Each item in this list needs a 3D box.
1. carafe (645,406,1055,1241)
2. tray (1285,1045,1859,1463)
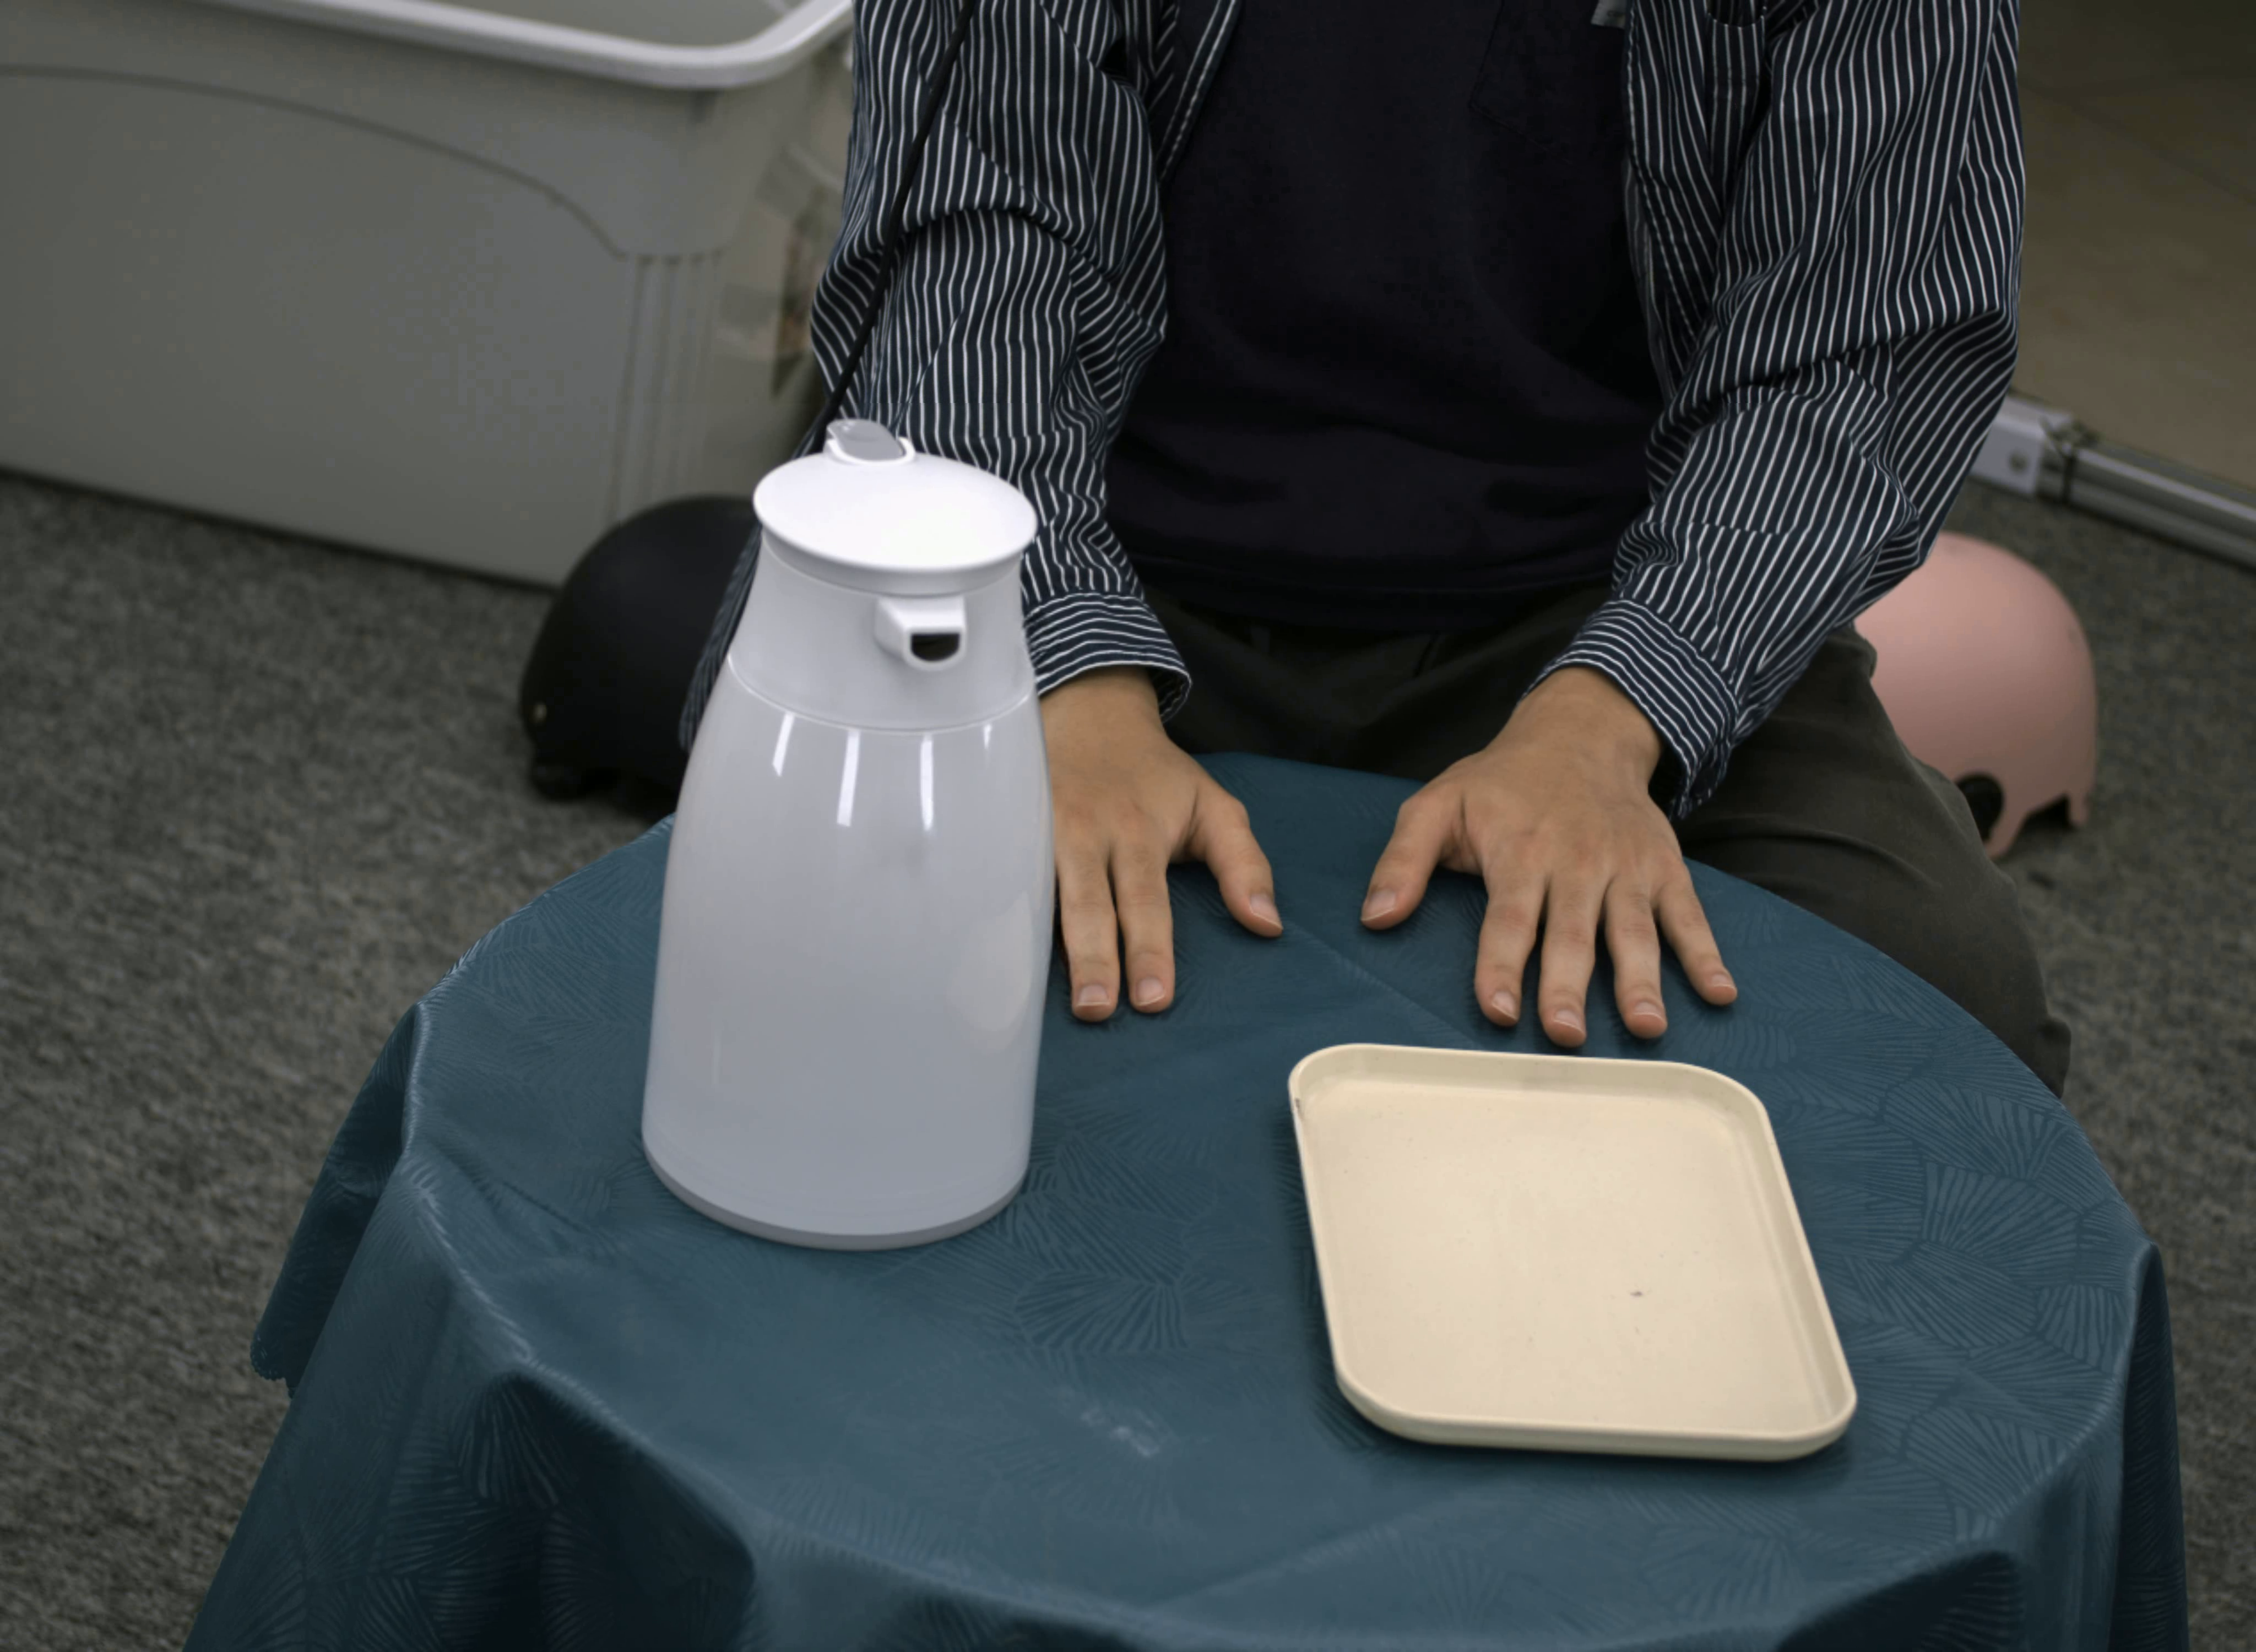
[{"bbox_3d":[-0.094,-0.011,1.766,0.132,0.248,0.169,-5,27,-20],"label":"carafe"},{"bbox_3d":[0.143,0.142,1.775,0.170,0.017,0.241,4,26,-5],"label":"tray"}]
